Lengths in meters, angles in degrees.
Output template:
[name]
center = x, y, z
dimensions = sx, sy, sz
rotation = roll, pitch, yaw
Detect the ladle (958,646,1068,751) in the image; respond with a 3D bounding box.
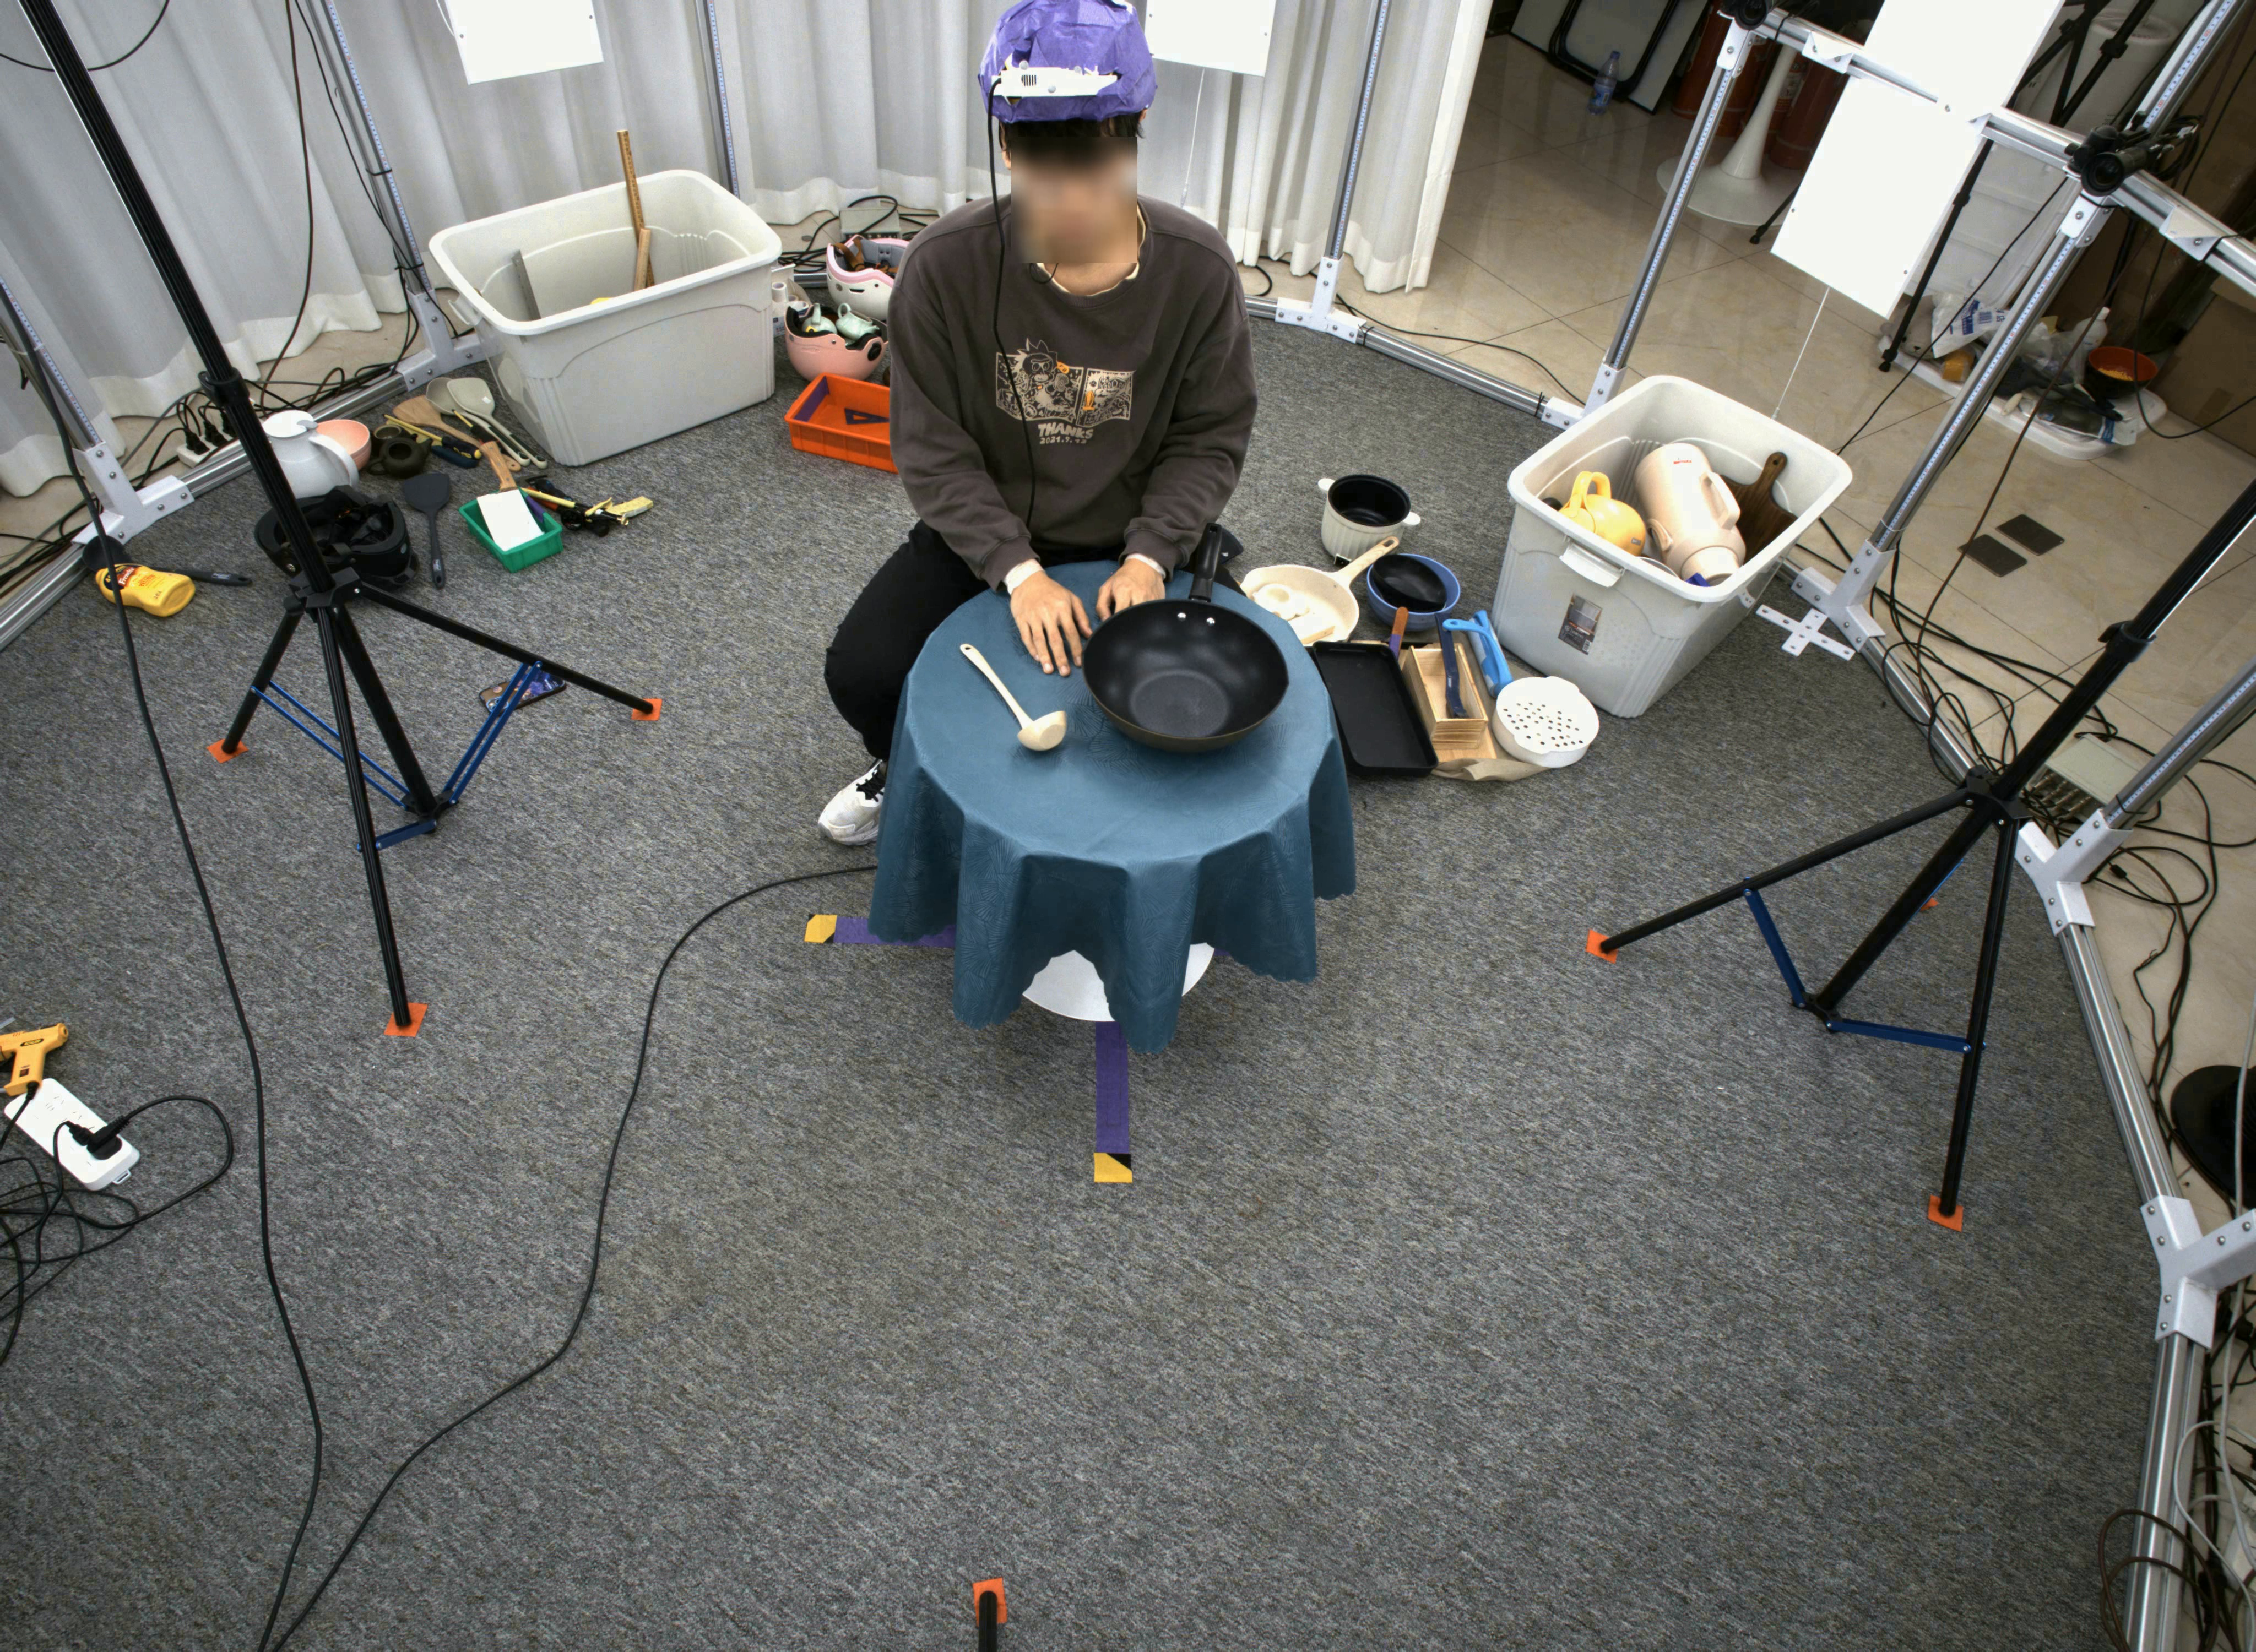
[ladle]
center = -0.172, -0.199, 1.782
dimensions = 0.072, 0.071, 0.259
rotation = -29, 56, -19

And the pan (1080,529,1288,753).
[pan]
center = 0.090, -0.263, 1.847
dimensions = 0.288, 0.085, 0.474
rotation = 9, 48, 5
